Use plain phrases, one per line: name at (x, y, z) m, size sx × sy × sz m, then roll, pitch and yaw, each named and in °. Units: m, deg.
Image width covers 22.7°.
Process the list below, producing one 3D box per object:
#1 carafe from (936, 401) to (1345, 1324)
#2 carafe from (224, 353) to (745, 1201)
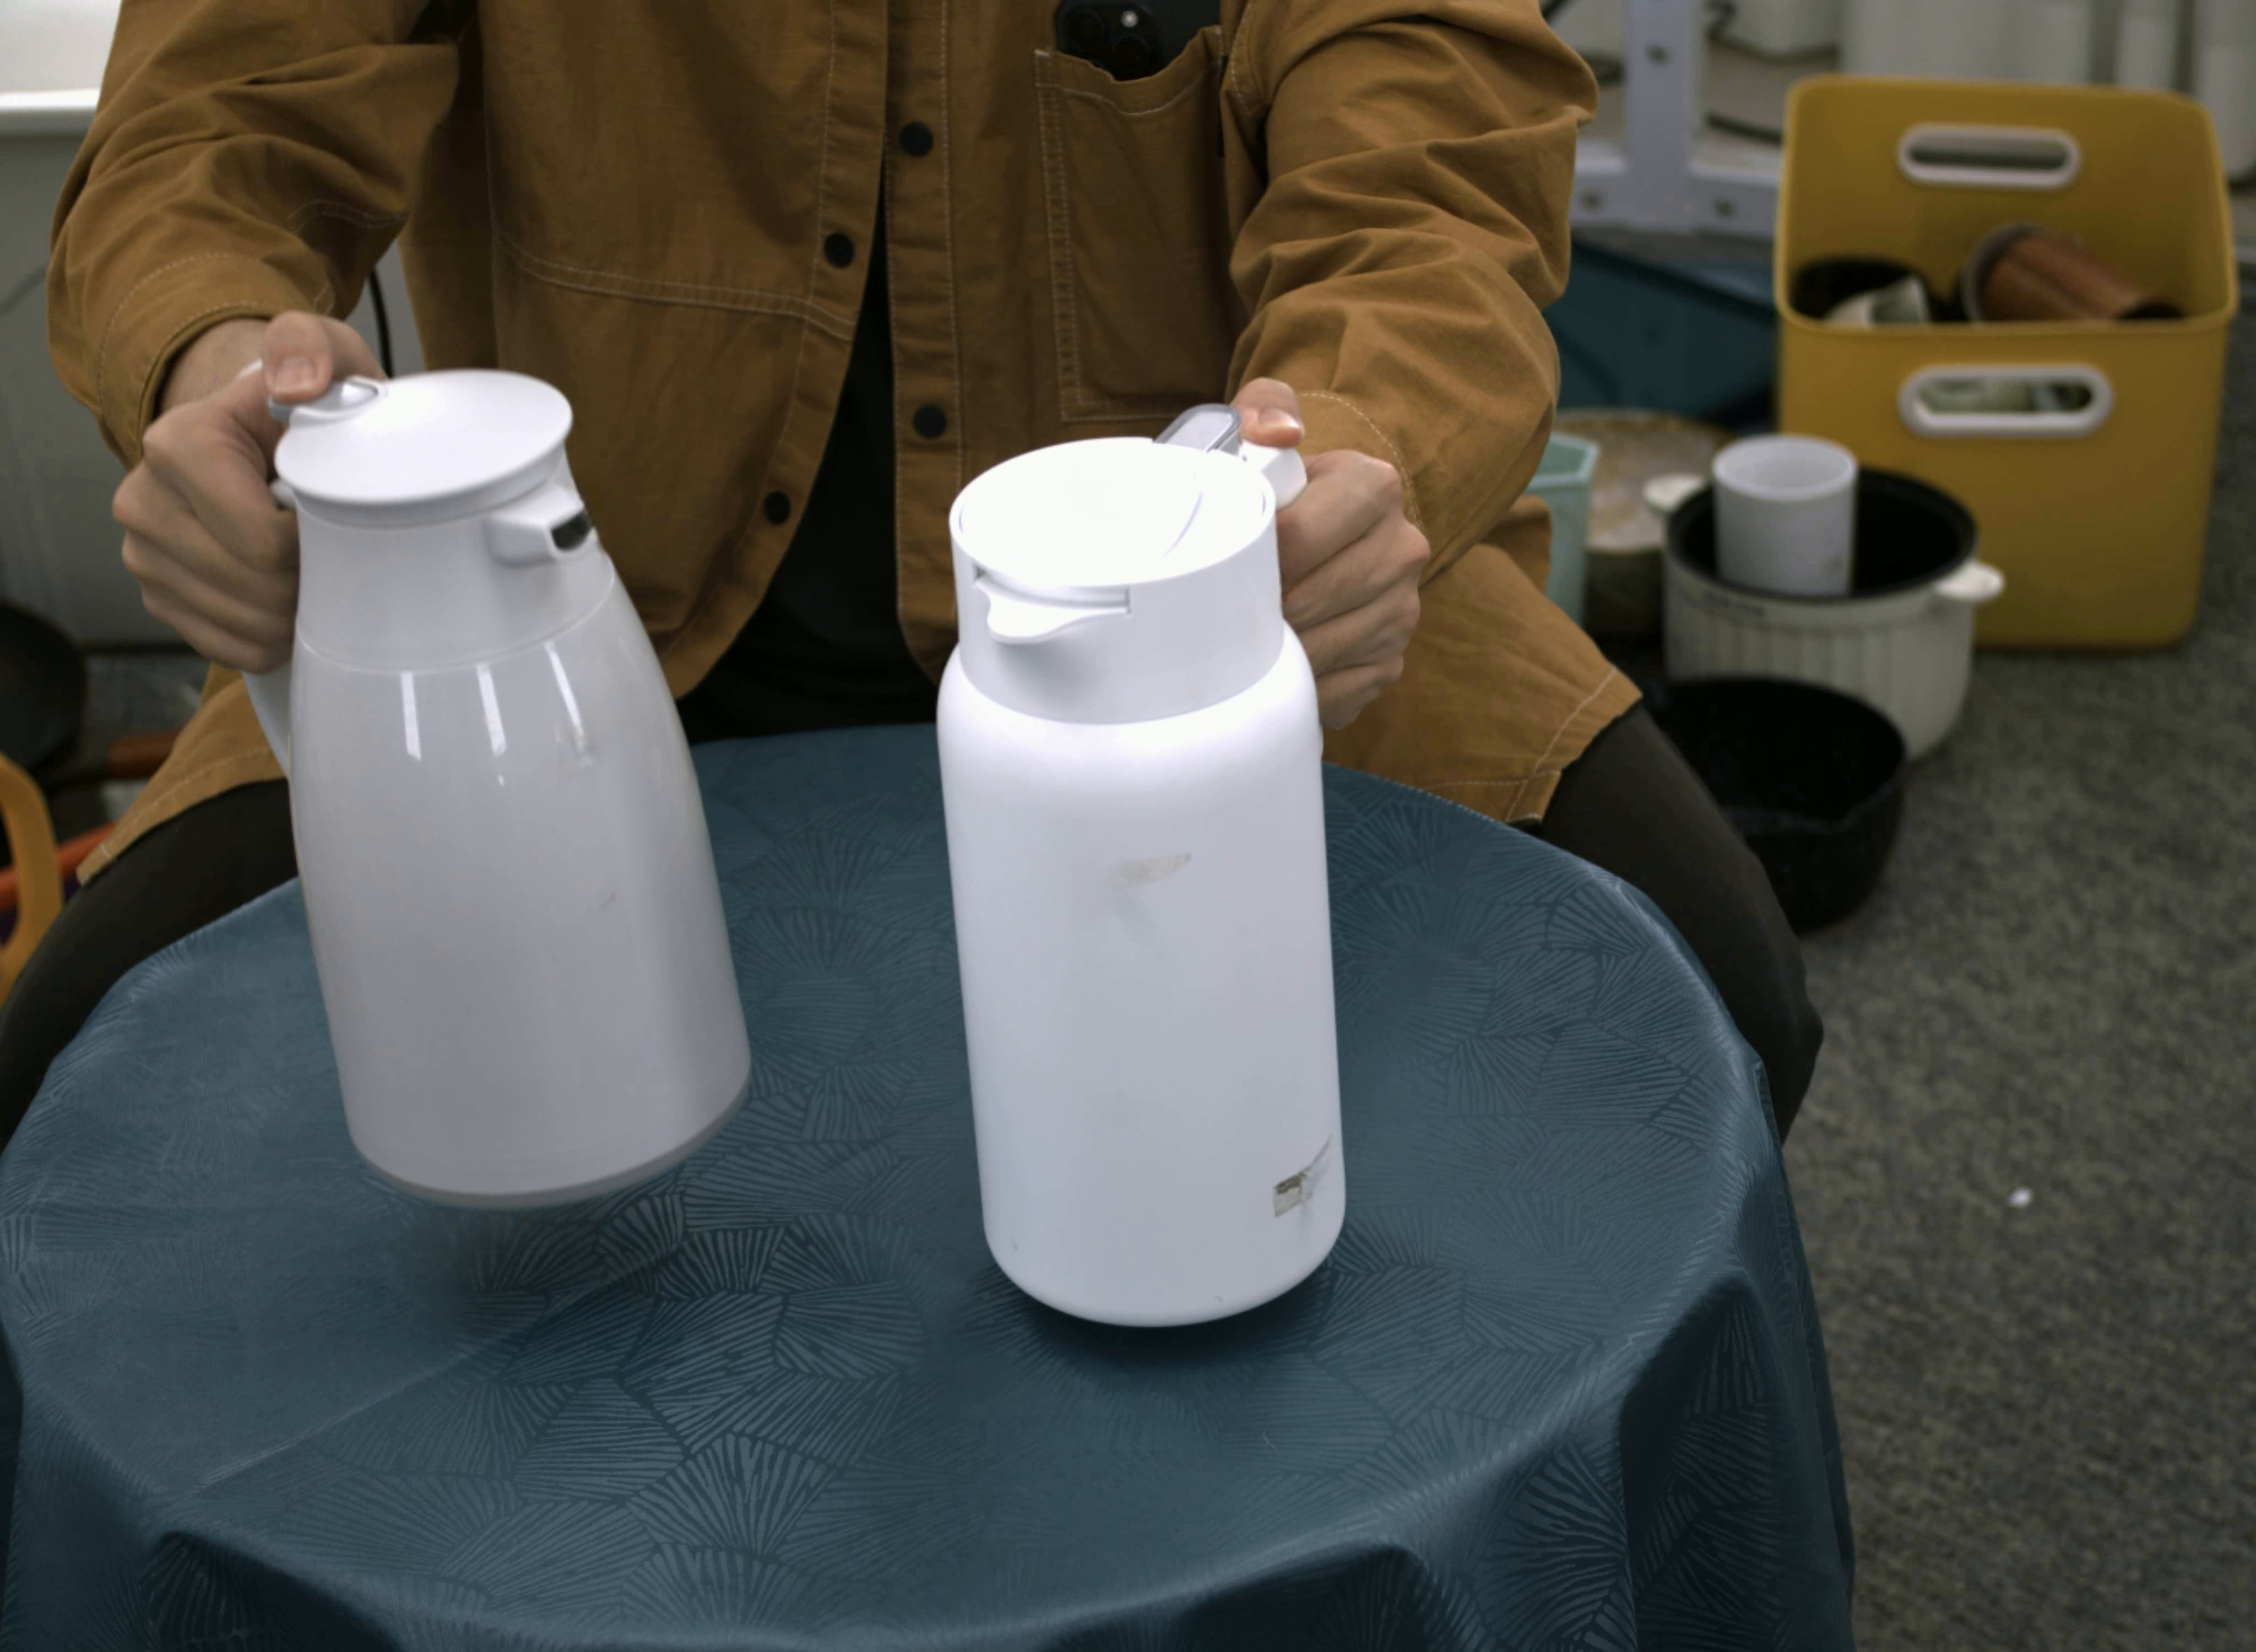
carafe at (0.010, 0.008, 1.760) m, size 0.123 × 0.266 × 0.176 m, roll 8°, pitch 30°, yaw 26°
carafe at (-0.217, -0.025, 1.772) m, size 0.167 × 0.246 × 0.134 m, roll 15°, pitch 34°, yaw 38°
